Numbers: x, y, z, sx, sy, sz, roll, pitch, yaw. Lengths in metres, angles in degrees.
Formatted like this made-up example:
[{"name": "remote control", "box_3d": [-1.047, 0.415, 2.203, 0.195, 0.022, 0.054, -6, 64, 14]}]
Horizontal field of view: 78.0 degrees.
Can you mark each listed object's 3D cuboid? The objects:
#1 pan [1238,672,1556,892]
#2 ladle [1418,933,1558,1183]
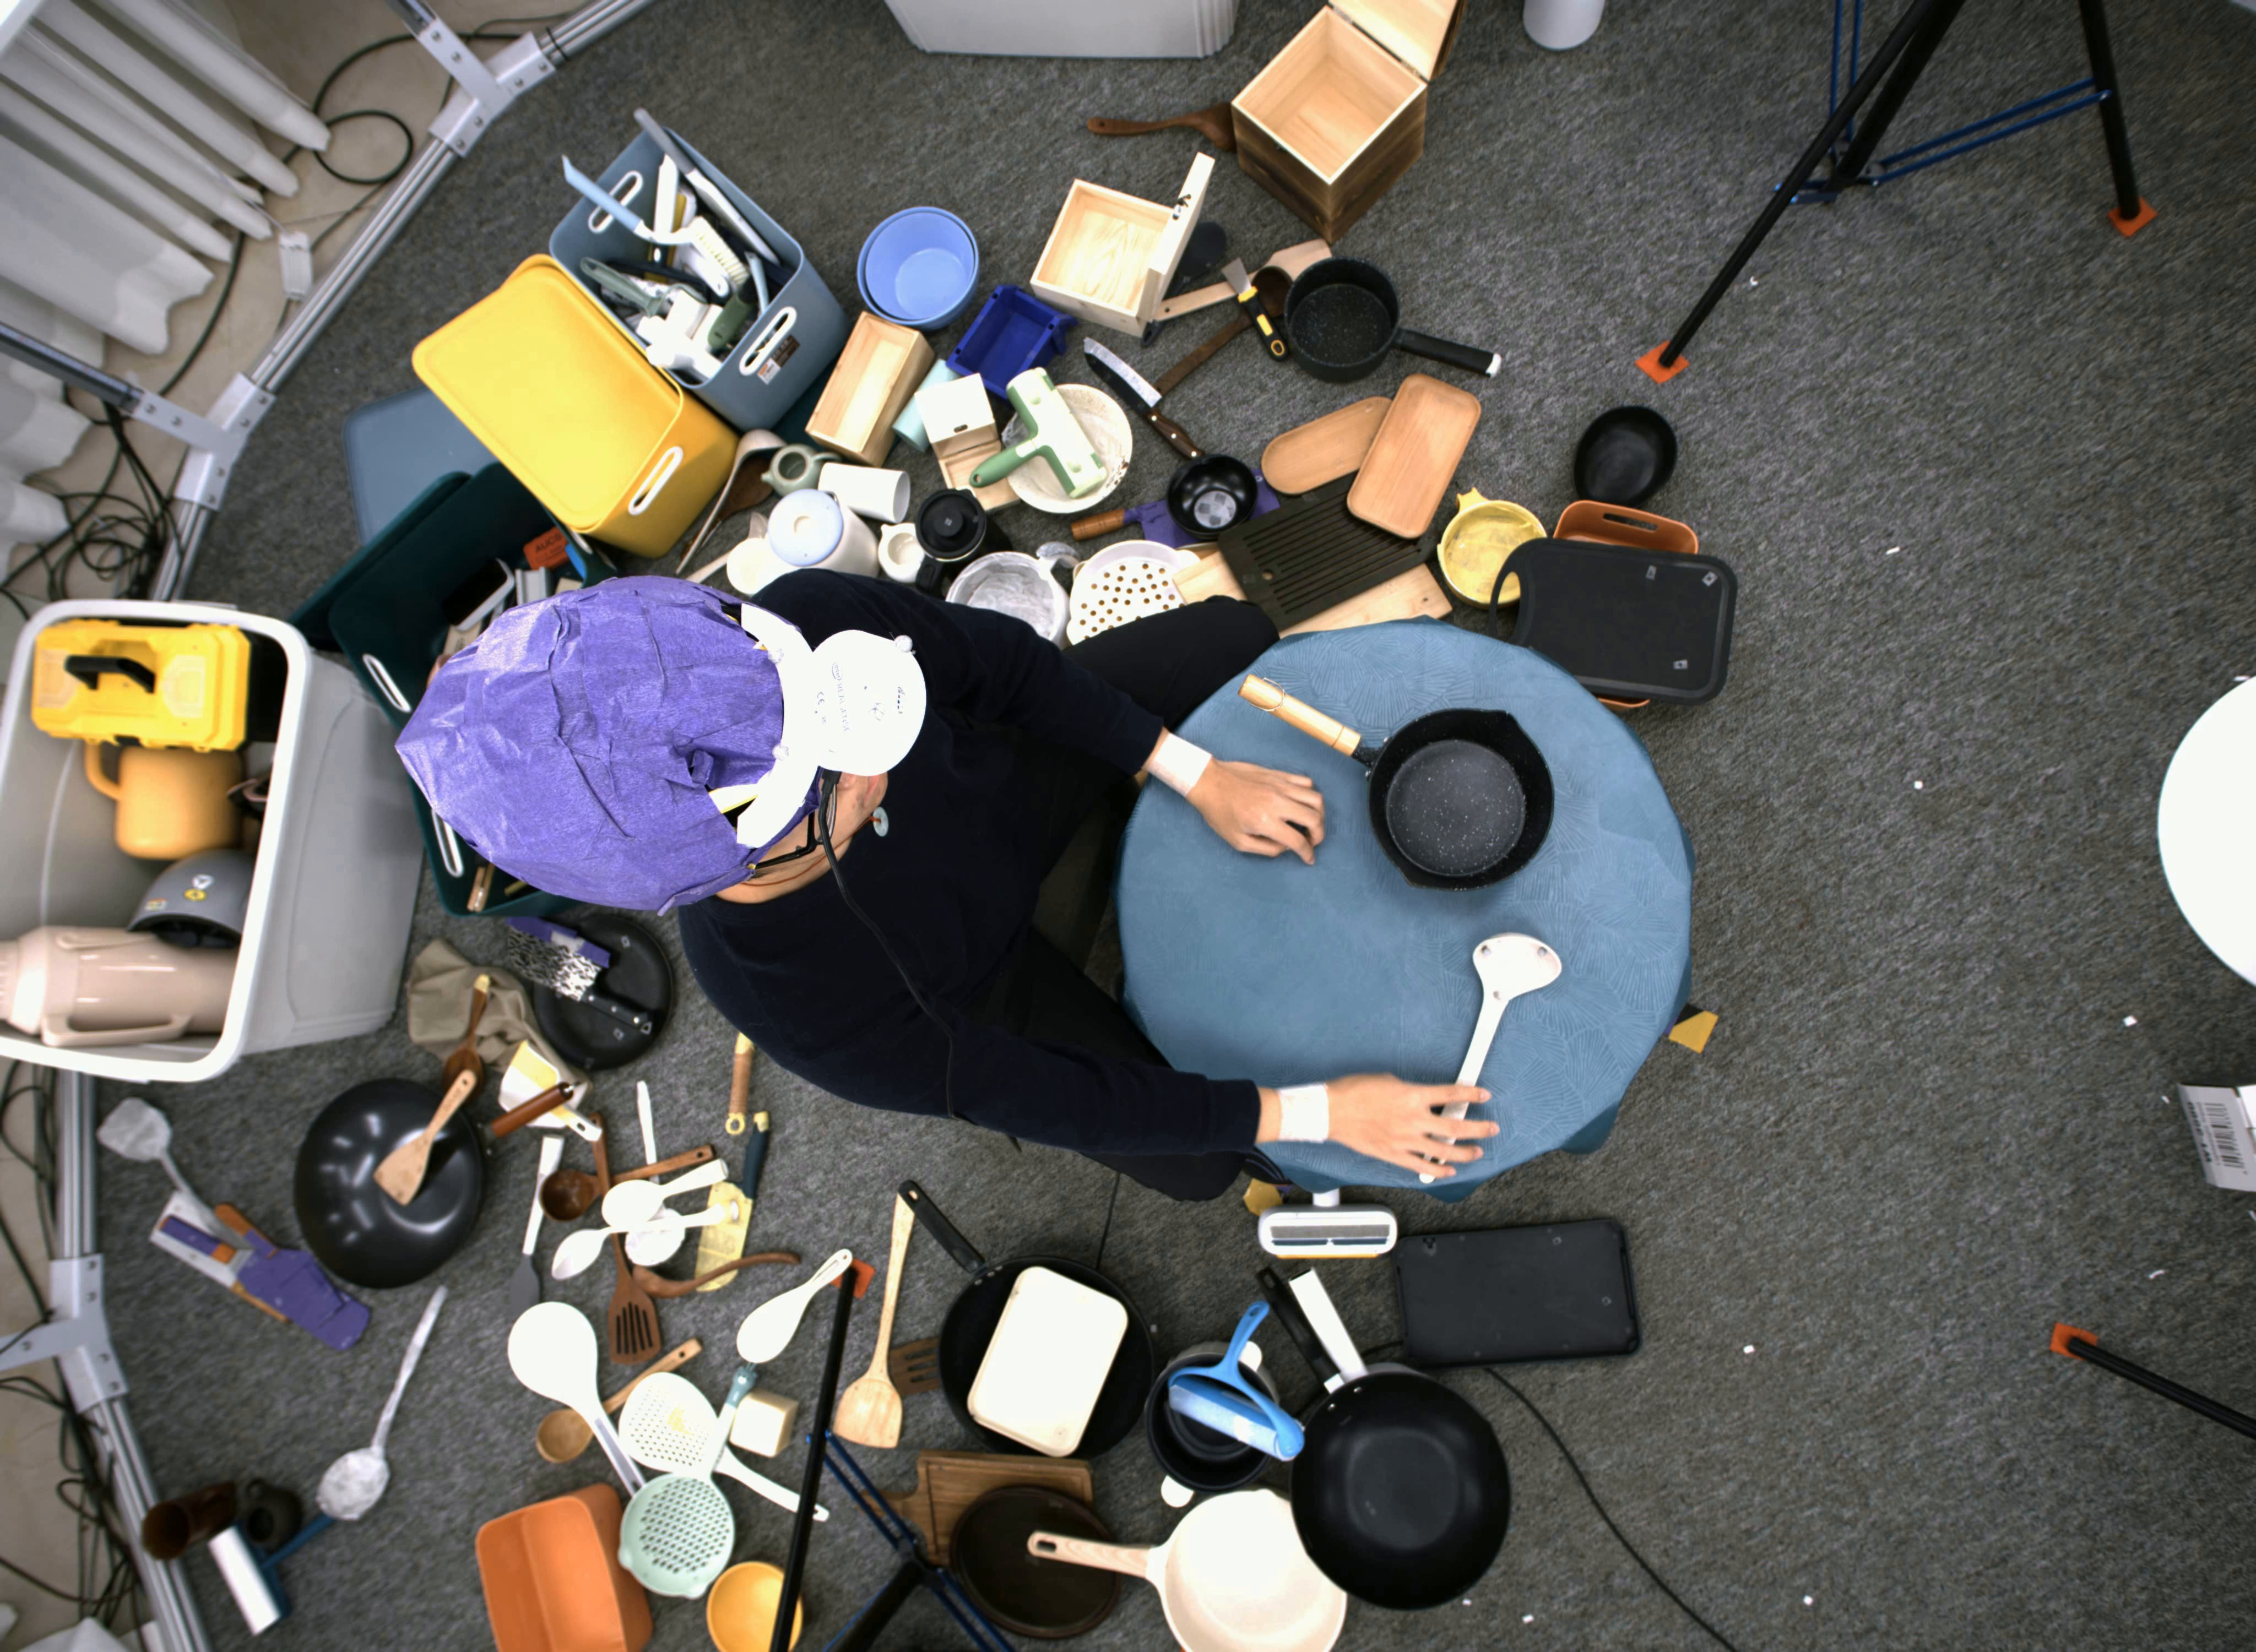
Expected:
[{"name": "pan", "box_3d": [0.267, -0.062, 1.413, 0.342, 0.108, 0.208, 28, 93, 9]}, {"name": "ladle", "box_3d": [0.352, 0.238, 1.399, 0.089, 0.069, 0.275, 21, 93, 6]}]
